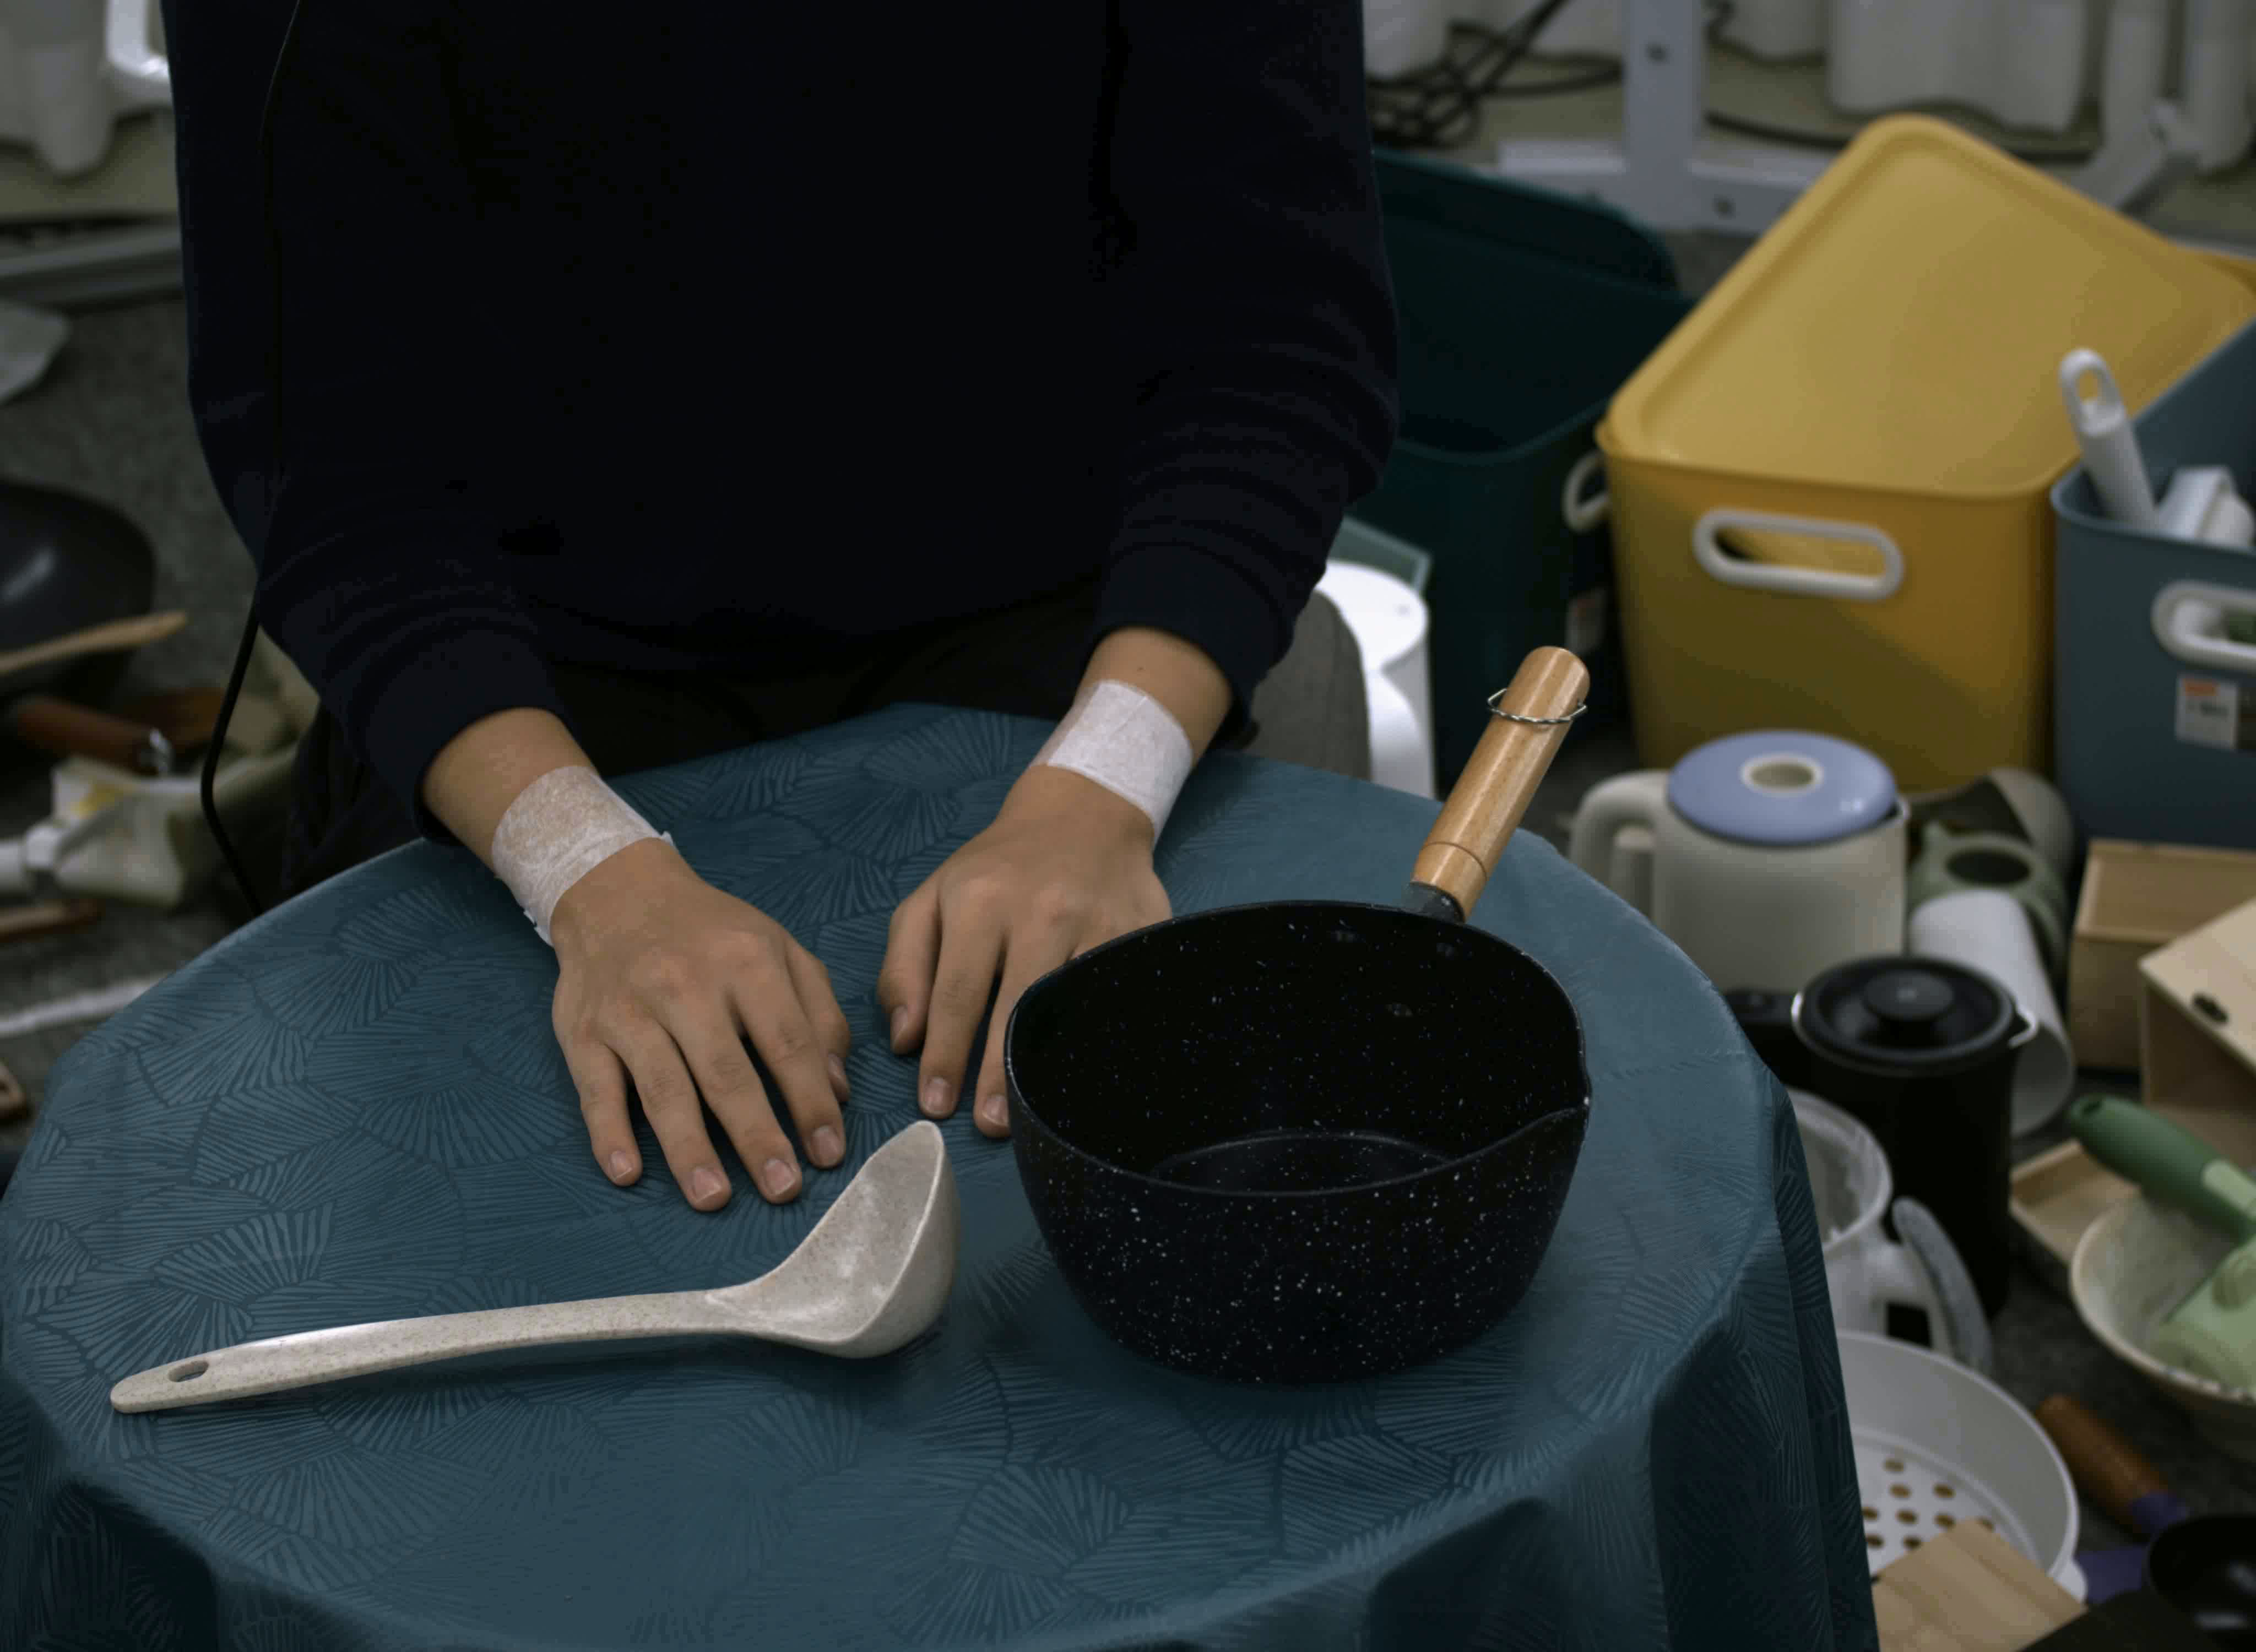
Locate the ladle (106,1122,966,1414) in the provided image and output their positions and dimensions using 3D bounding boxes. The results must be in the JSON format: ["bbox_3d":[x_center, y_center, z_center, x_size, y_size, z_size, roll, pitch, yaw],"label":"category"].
[{"bbox_3d":[-0.187,0.142,1.769,0.274,0.068,0.091,-5,31,-4],"label":"ladle"}]

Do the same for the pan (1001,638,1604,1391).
[{"bbox_3d":[0.084,0.058,1.860,0.206,0.107,0.349,7,30,22],"label":"pan"}]
